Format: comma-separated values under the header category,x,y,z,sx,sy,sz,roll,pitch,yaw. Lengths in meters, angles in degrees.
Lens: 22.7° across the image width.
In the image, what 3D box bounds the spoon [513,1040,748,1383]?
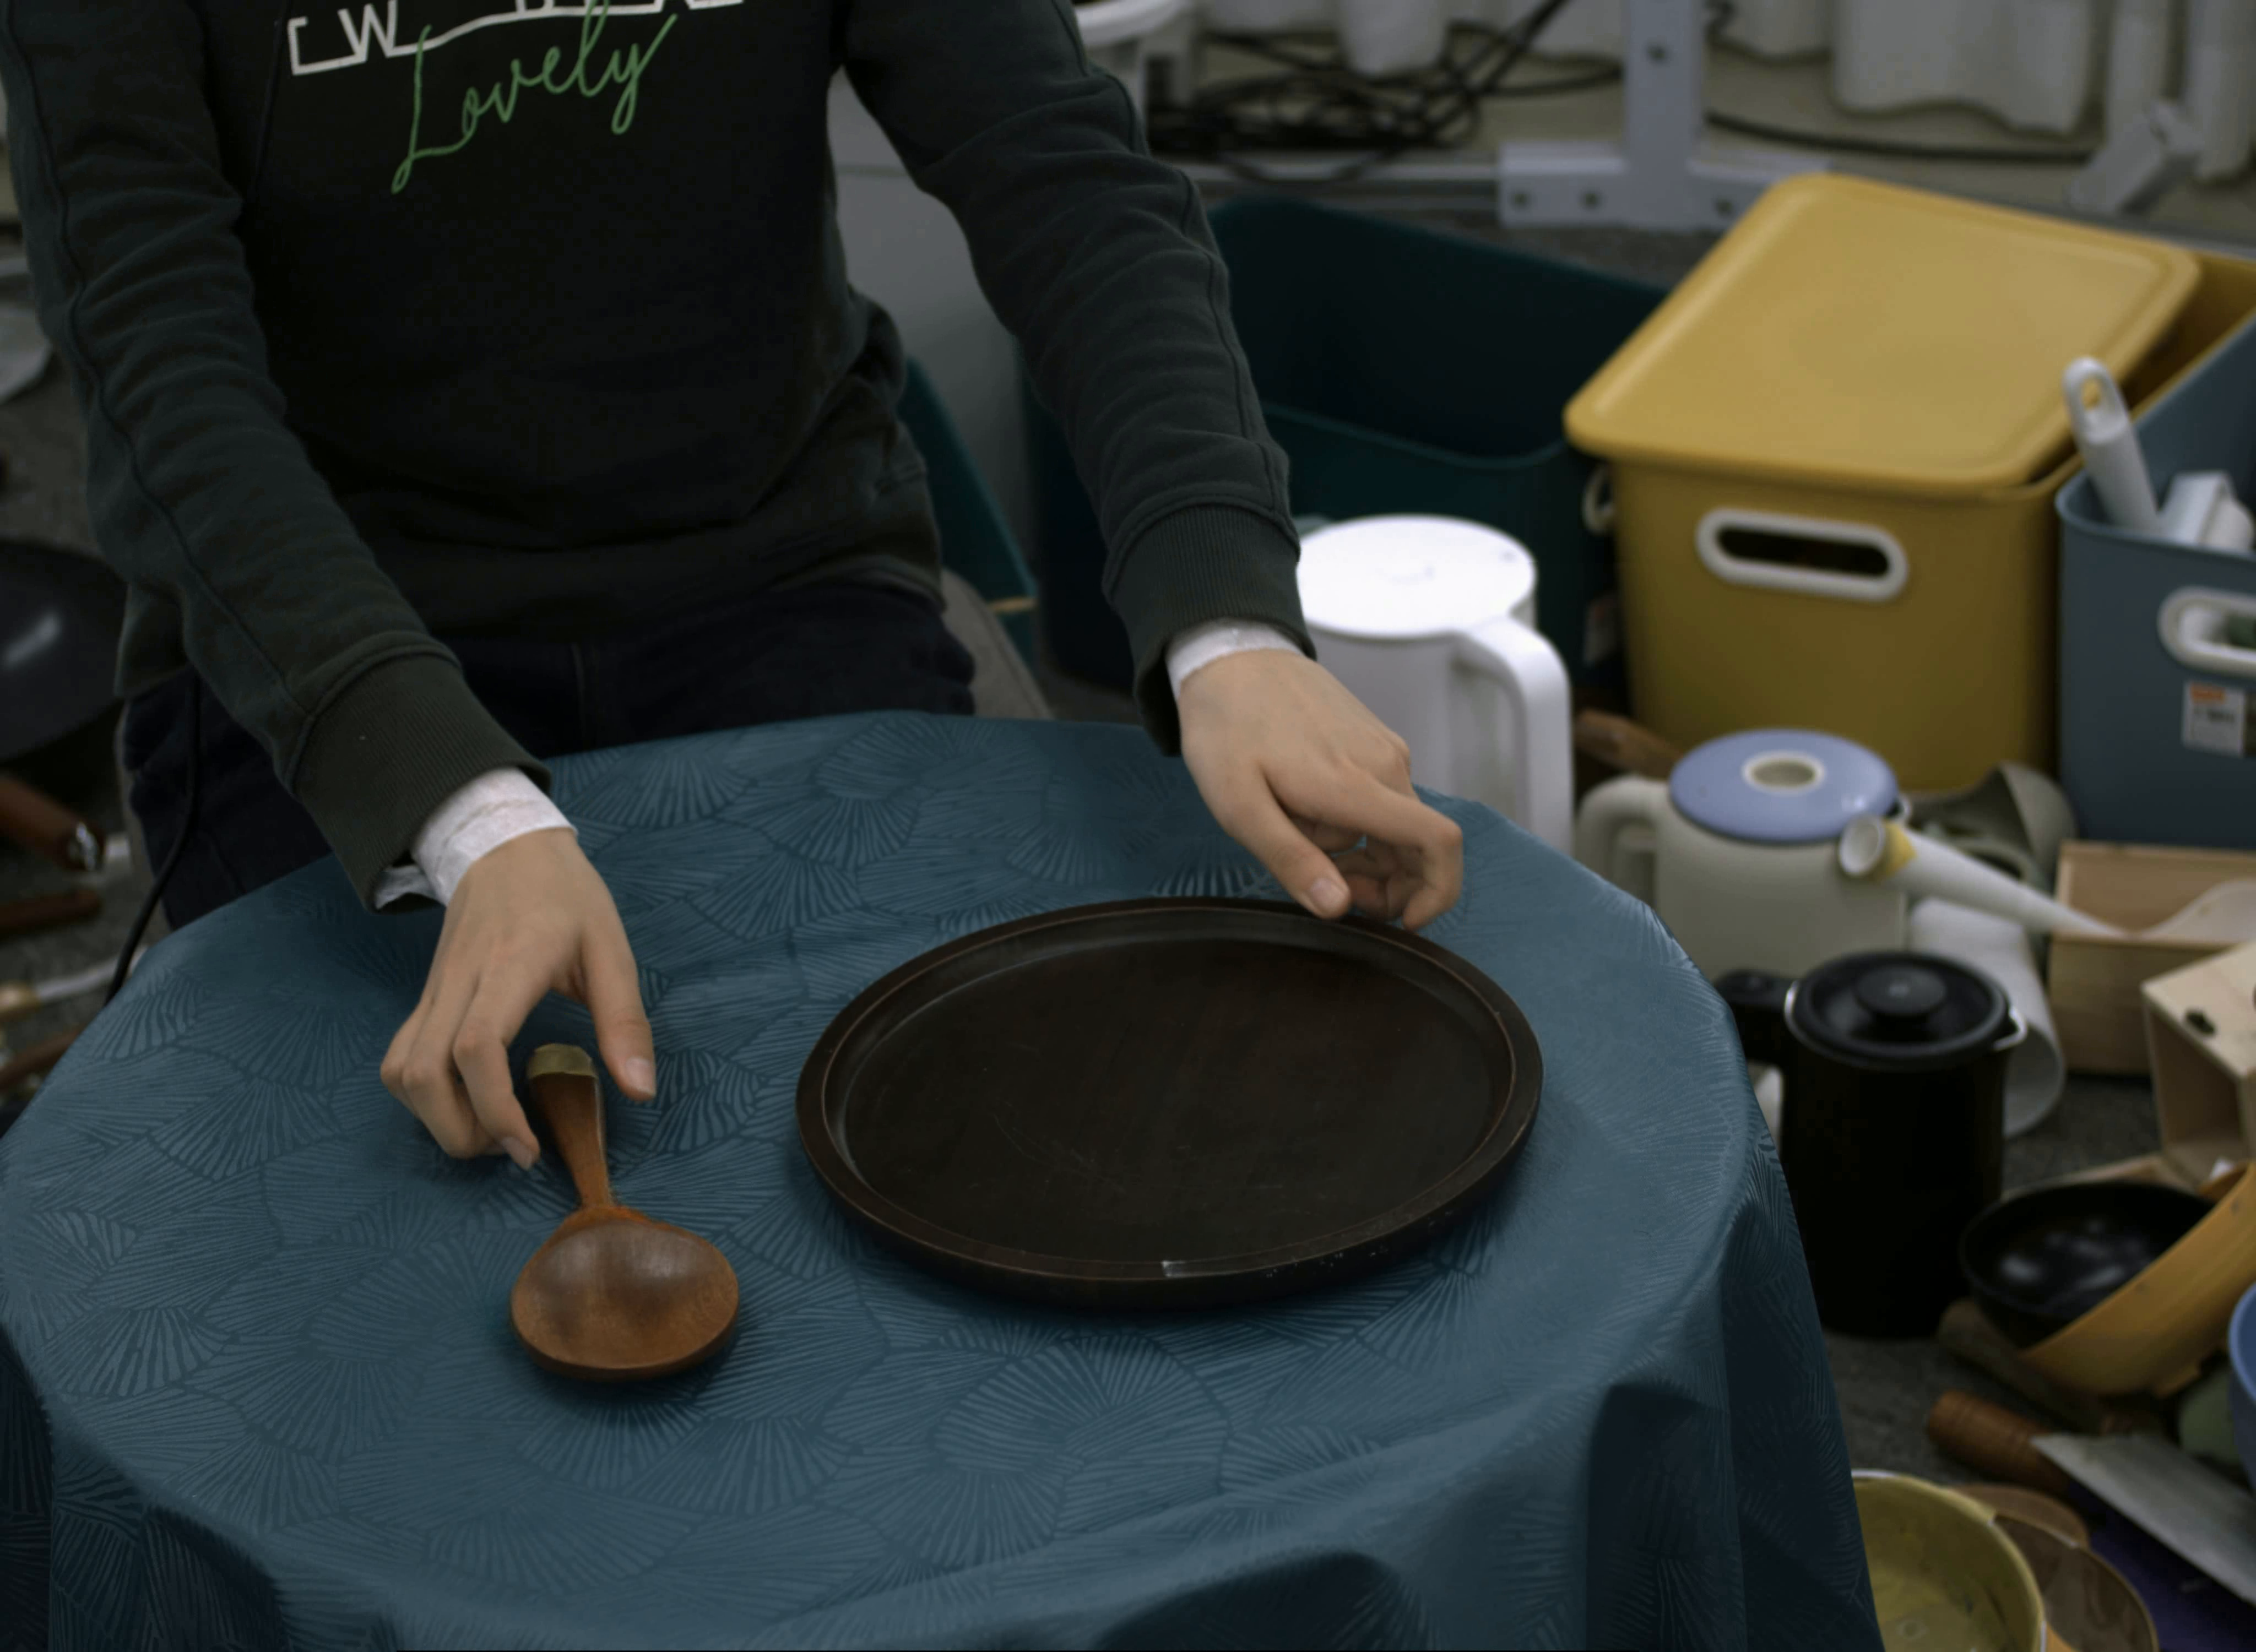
category,x,y,z,sx,sy,sz,roll,pitch,yaw
spoon,-0.173,0.127,1.848,0.075,0.017,0.218,-9,28,-10

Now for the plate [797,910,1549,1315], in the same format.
category,x,y,z,sx,sy,sz,roll,pitch,yaw
plate,0.015,0.094,1.889,0.253,0.029,0.259,-1,28,1
